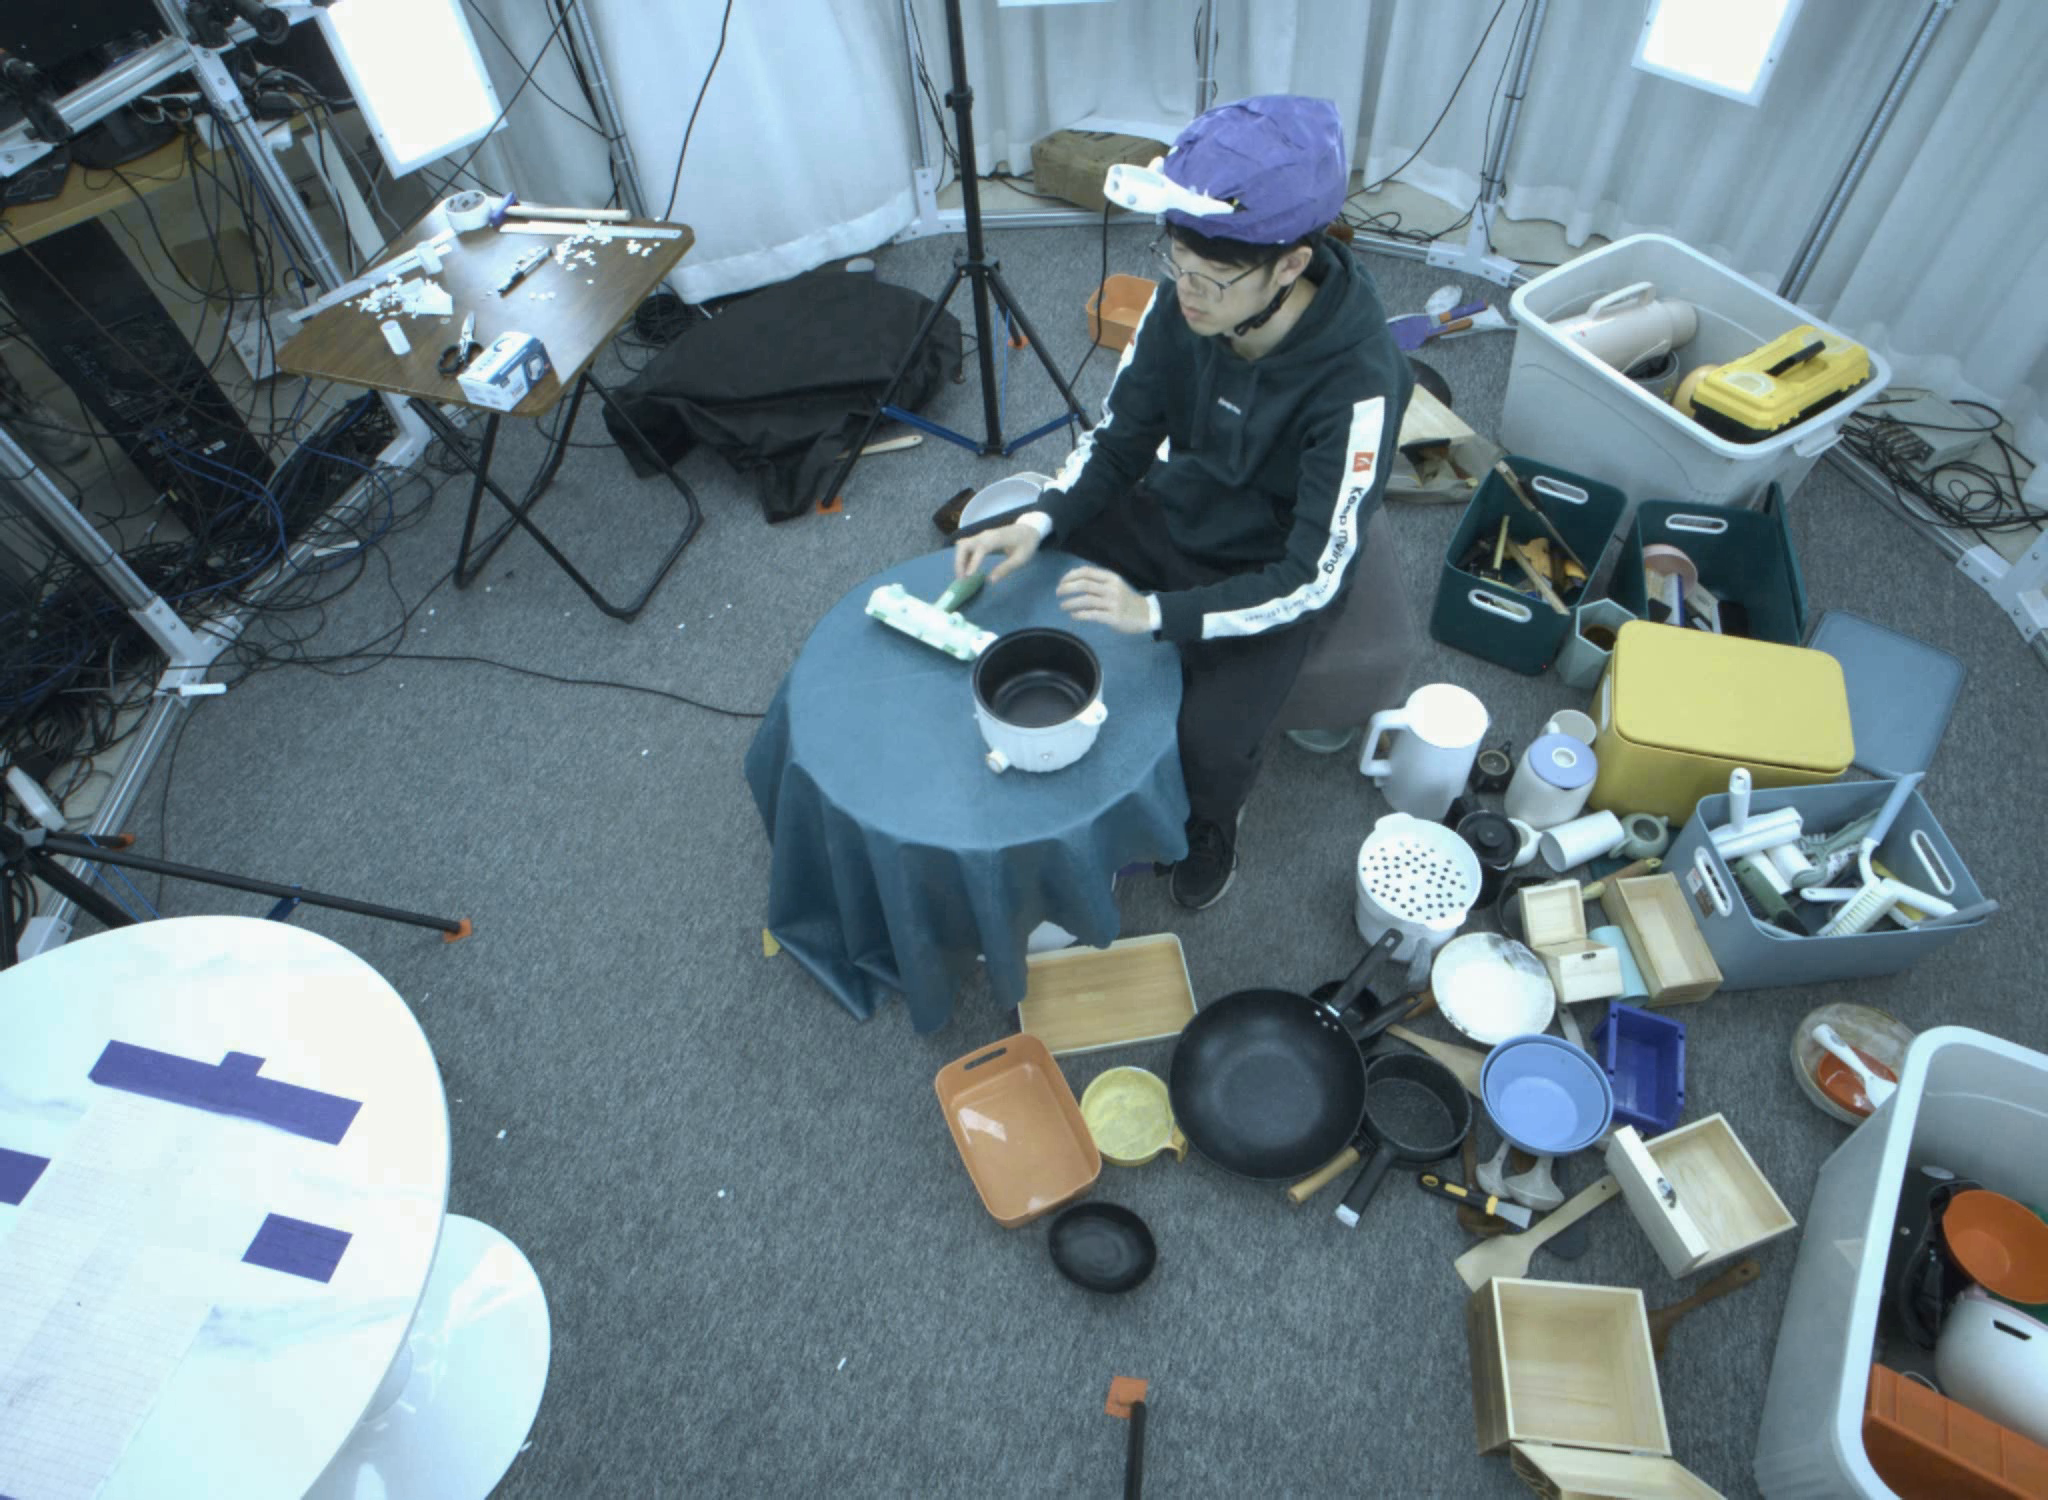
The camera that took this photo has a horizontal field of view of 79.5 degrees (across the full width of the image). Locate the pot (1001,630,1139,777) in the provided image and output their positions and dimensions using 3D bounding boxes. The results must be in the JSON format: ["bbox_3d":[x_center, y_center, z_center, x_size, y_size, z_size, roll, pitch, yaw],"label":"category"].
[{"bbox_3d":[0.061,-0.054,1.734,0.236,0.144,0.192,35,60,26],"label":"pot"}]

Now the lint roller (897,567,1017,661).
[{"bbox_3d":[-0.072,-0.240,1.910,0.195,0.083,0.184,29,66,21],"label":"lint roller"}]
